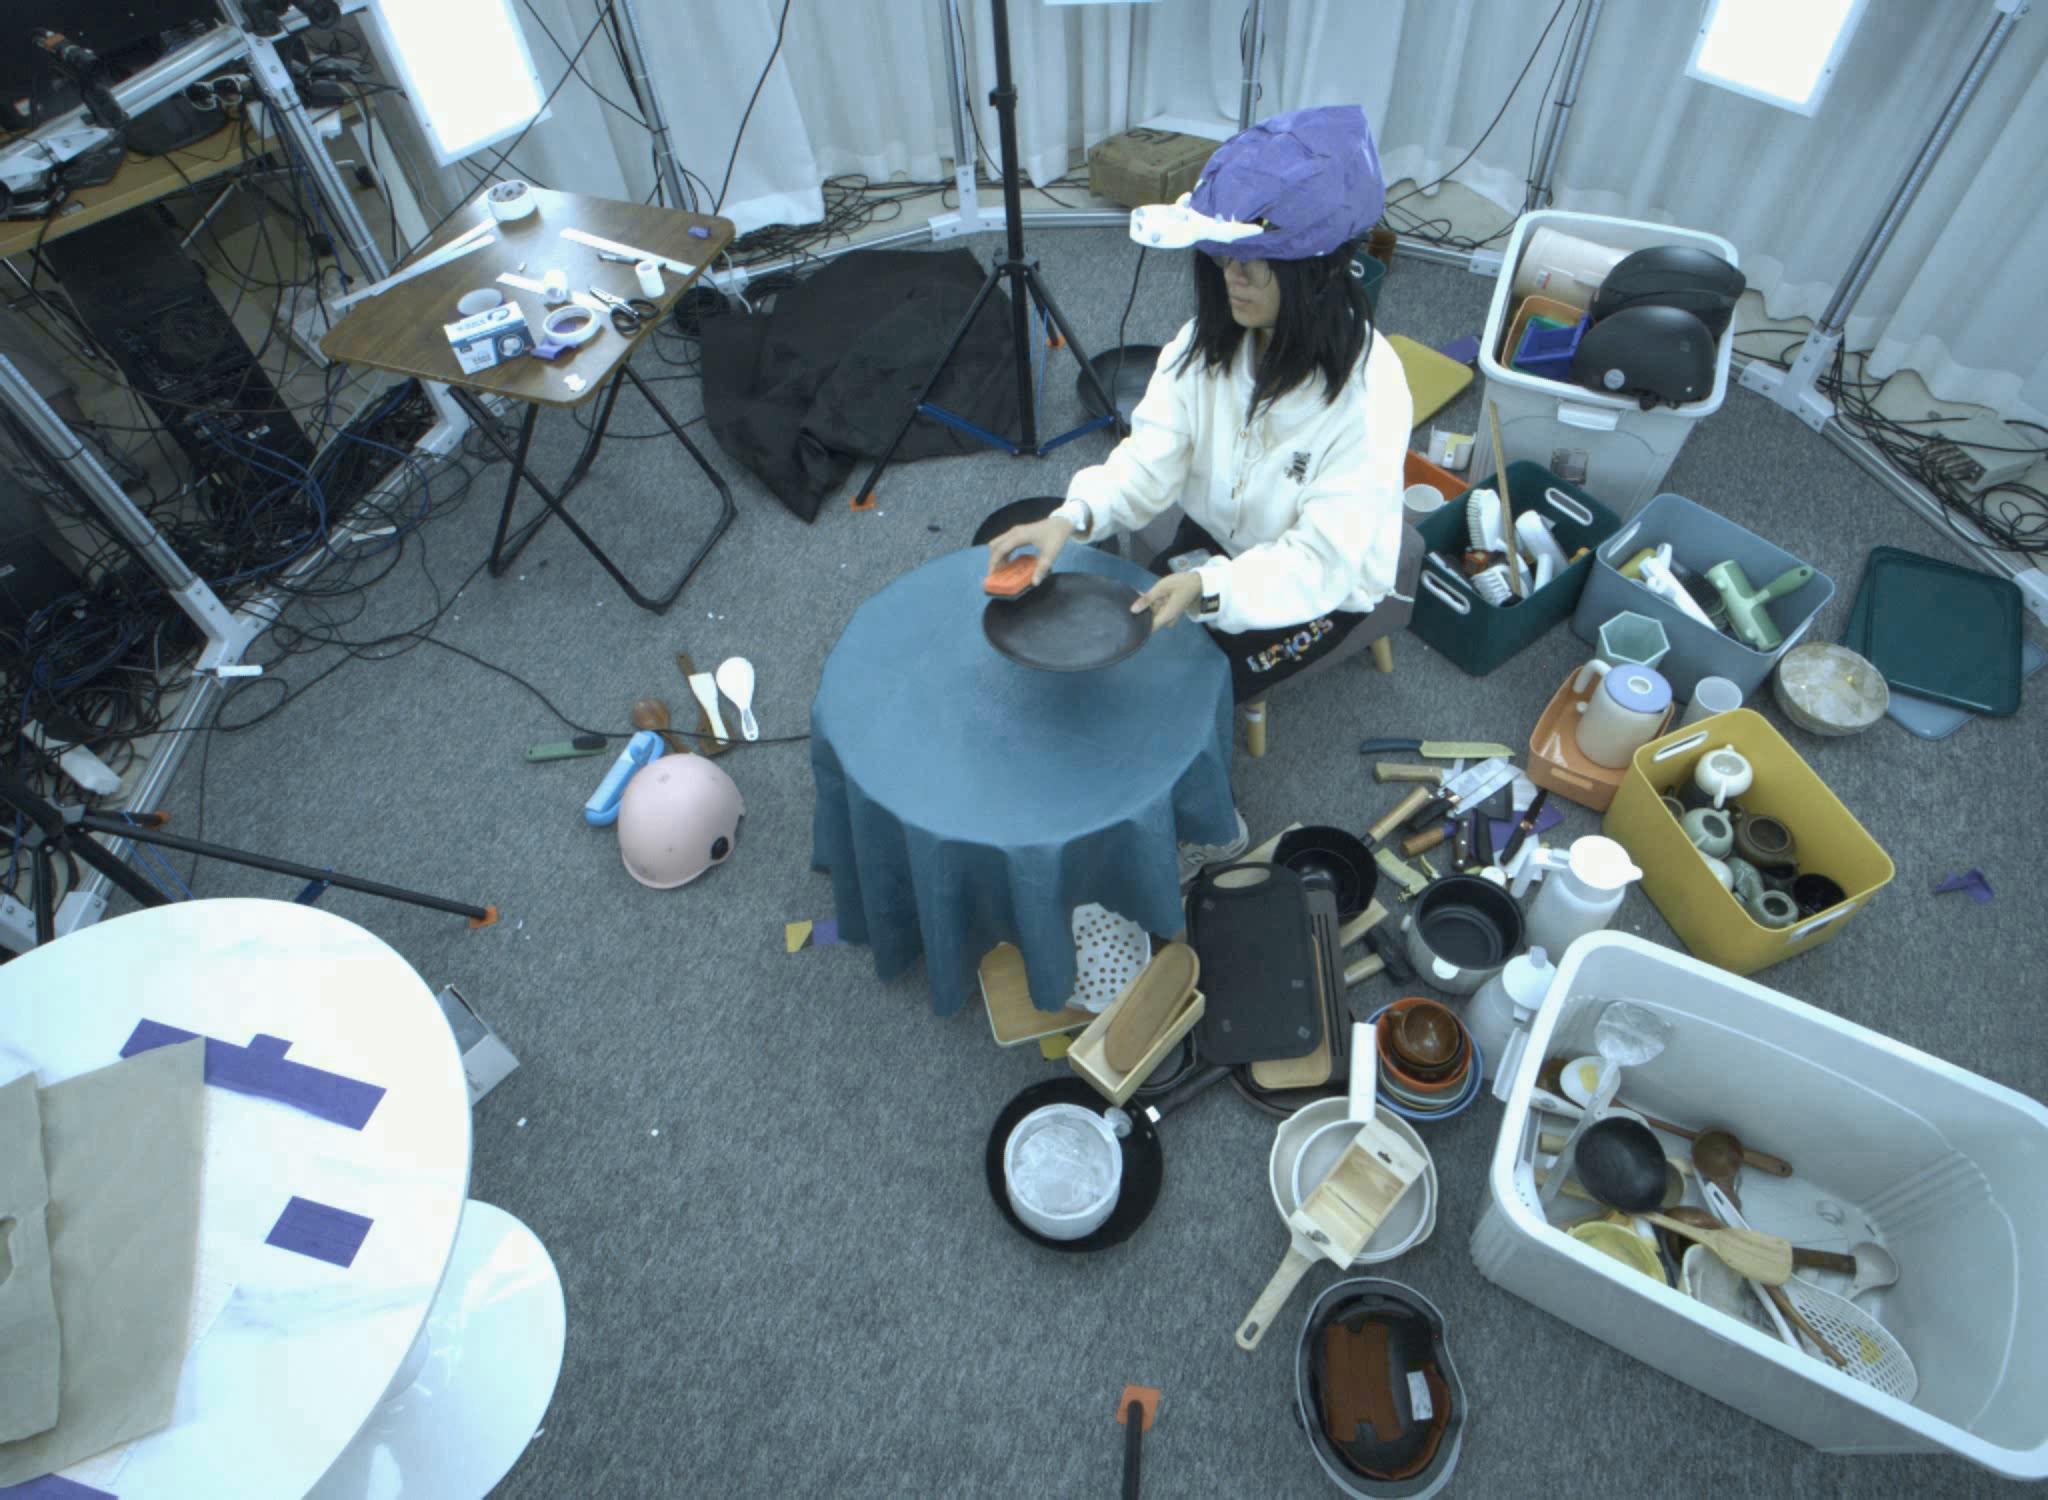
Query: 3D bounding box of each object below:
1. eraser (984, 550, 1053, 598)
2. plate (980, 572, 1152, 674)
[{"bbox_3d":[-0.008,-0.259,1.796,0.058,0.023,0.109,12,40,33],"label":"eraser"},{"bbox_3d":[0.060,-0.176,1.742,0.244,0.023,0.242,1,43,1],"label":"plate"}]
